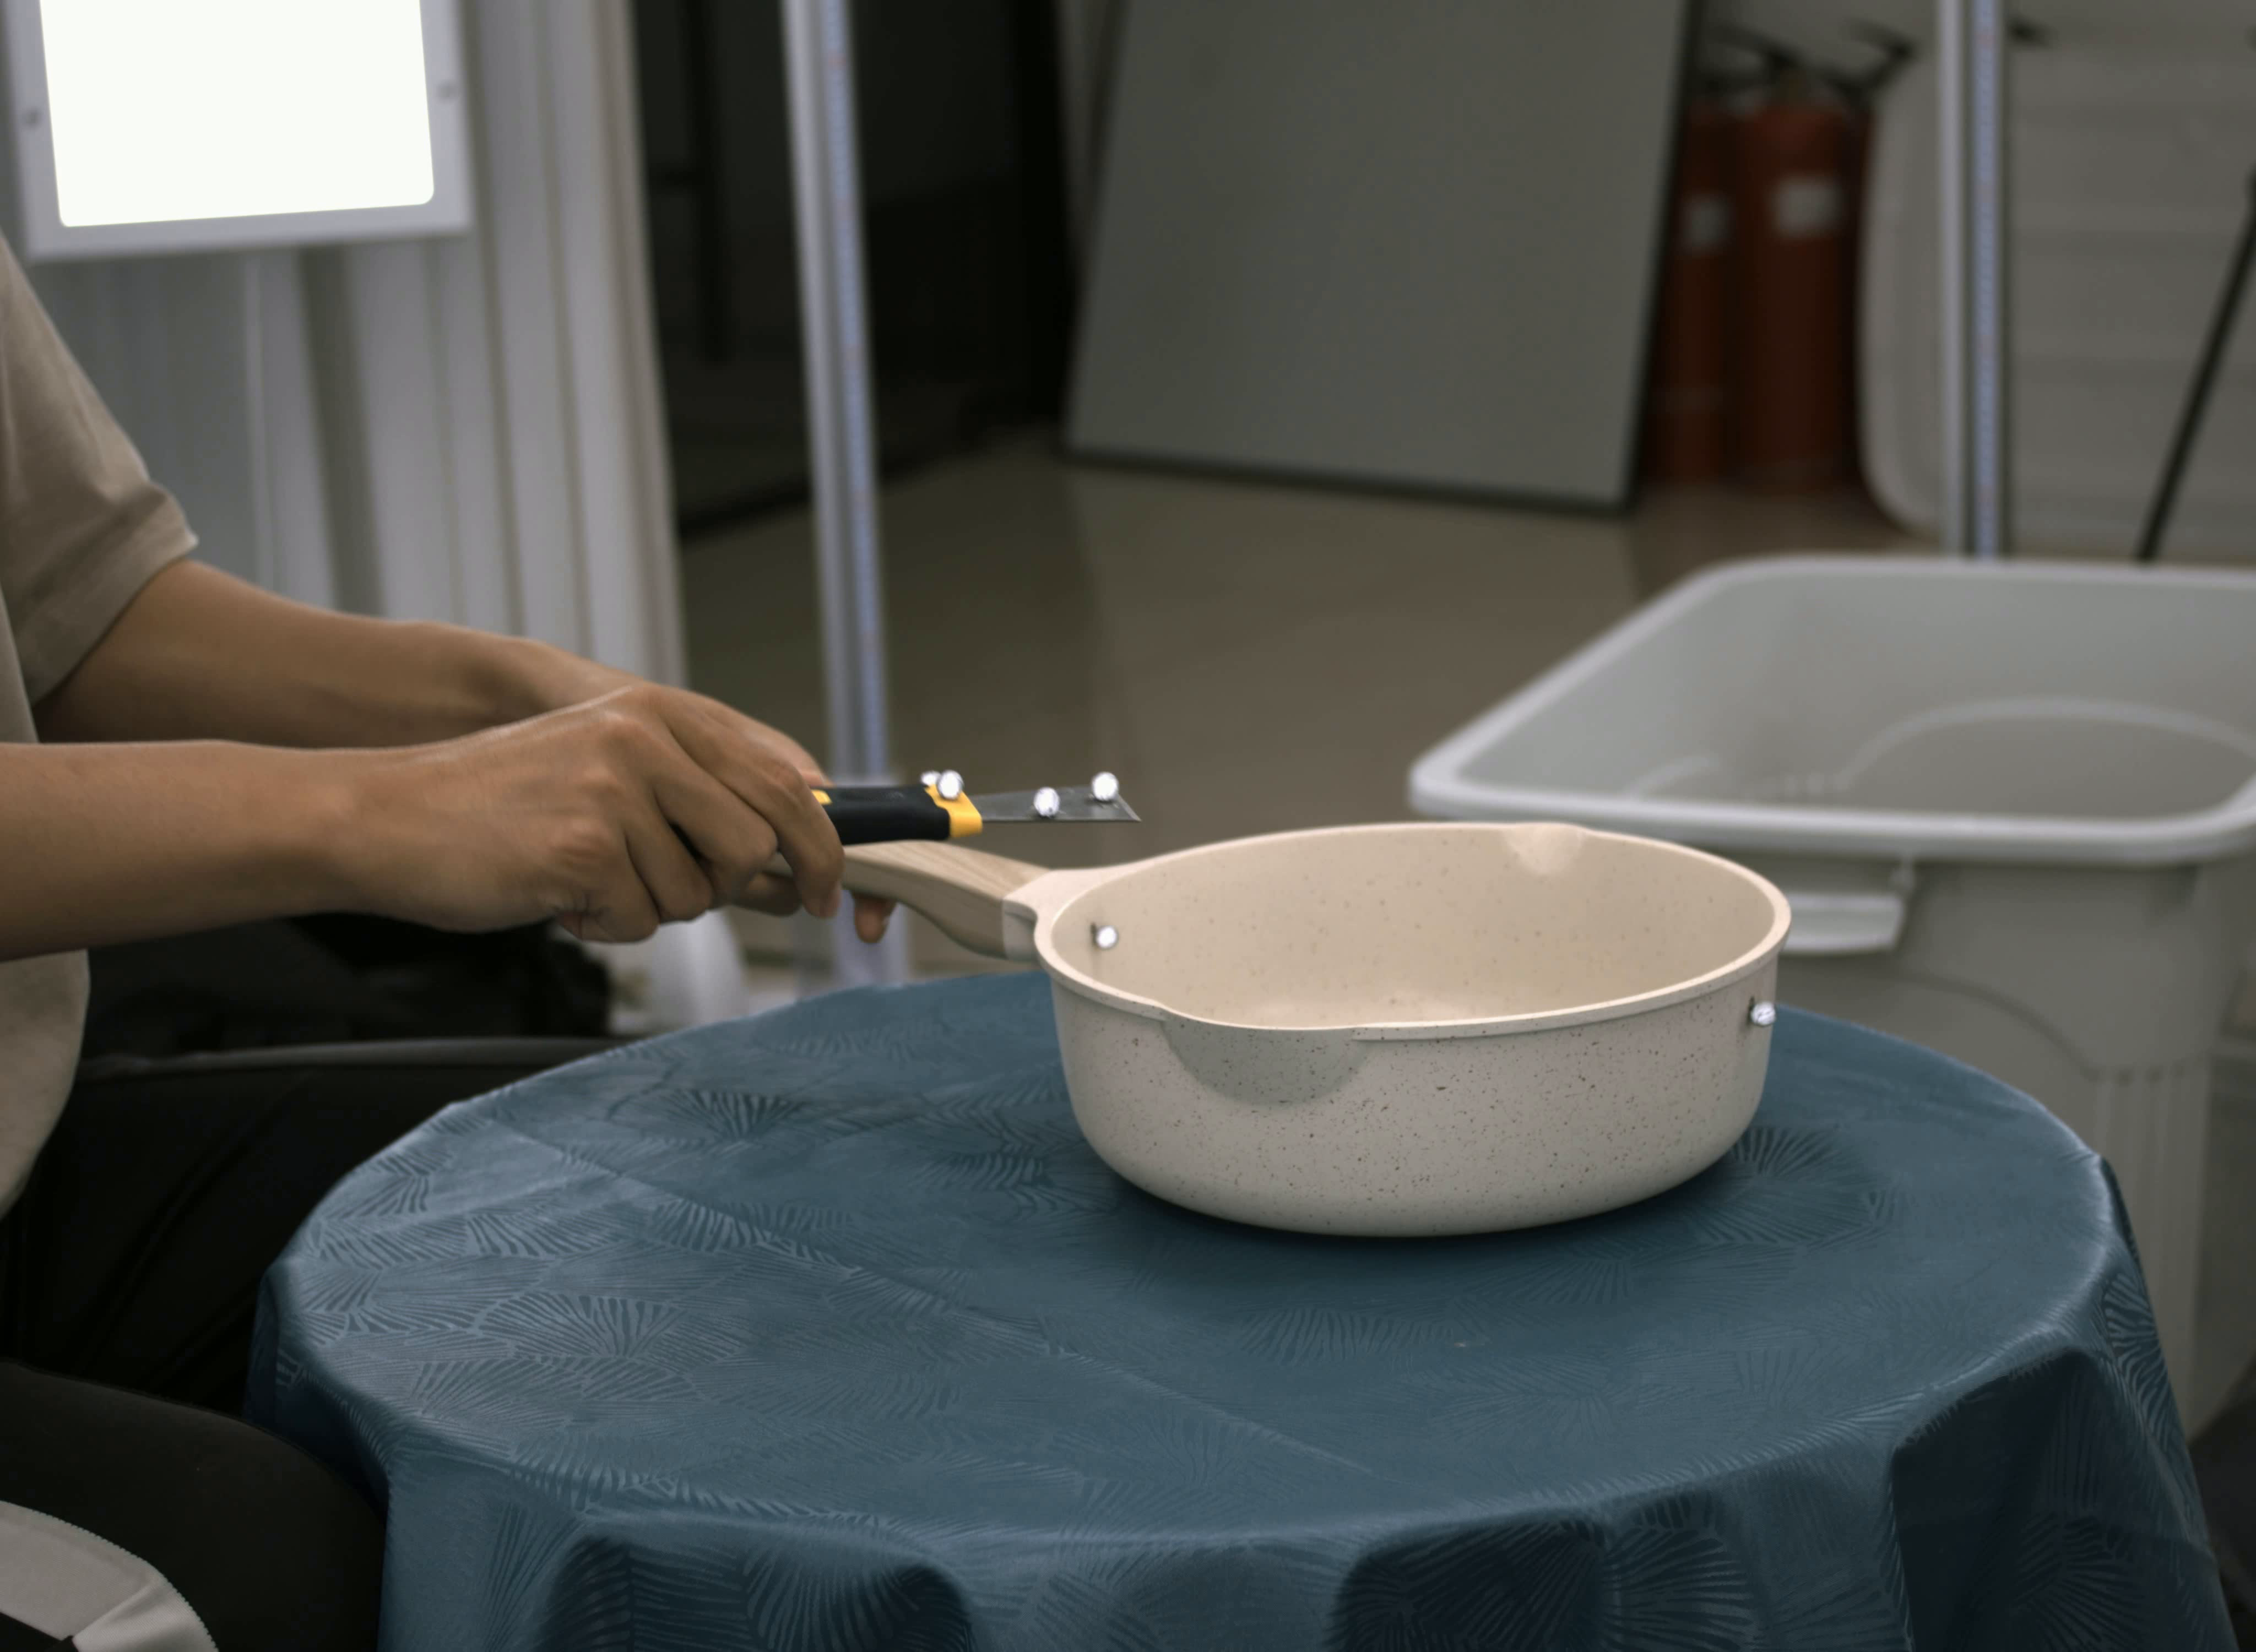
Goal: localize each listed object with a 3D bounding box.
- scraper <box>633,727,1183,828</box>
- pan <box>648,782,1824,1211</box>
[{"bbox_3d":[-0.067,-0.015,1.631,0.167,0.015,0.039,-4,25,-17],"label":"scraper"},{"bbox_3d":[0.028,0.047,1.847,0.436,0.103,0.260,3,18,27],"label":"pan"}]
